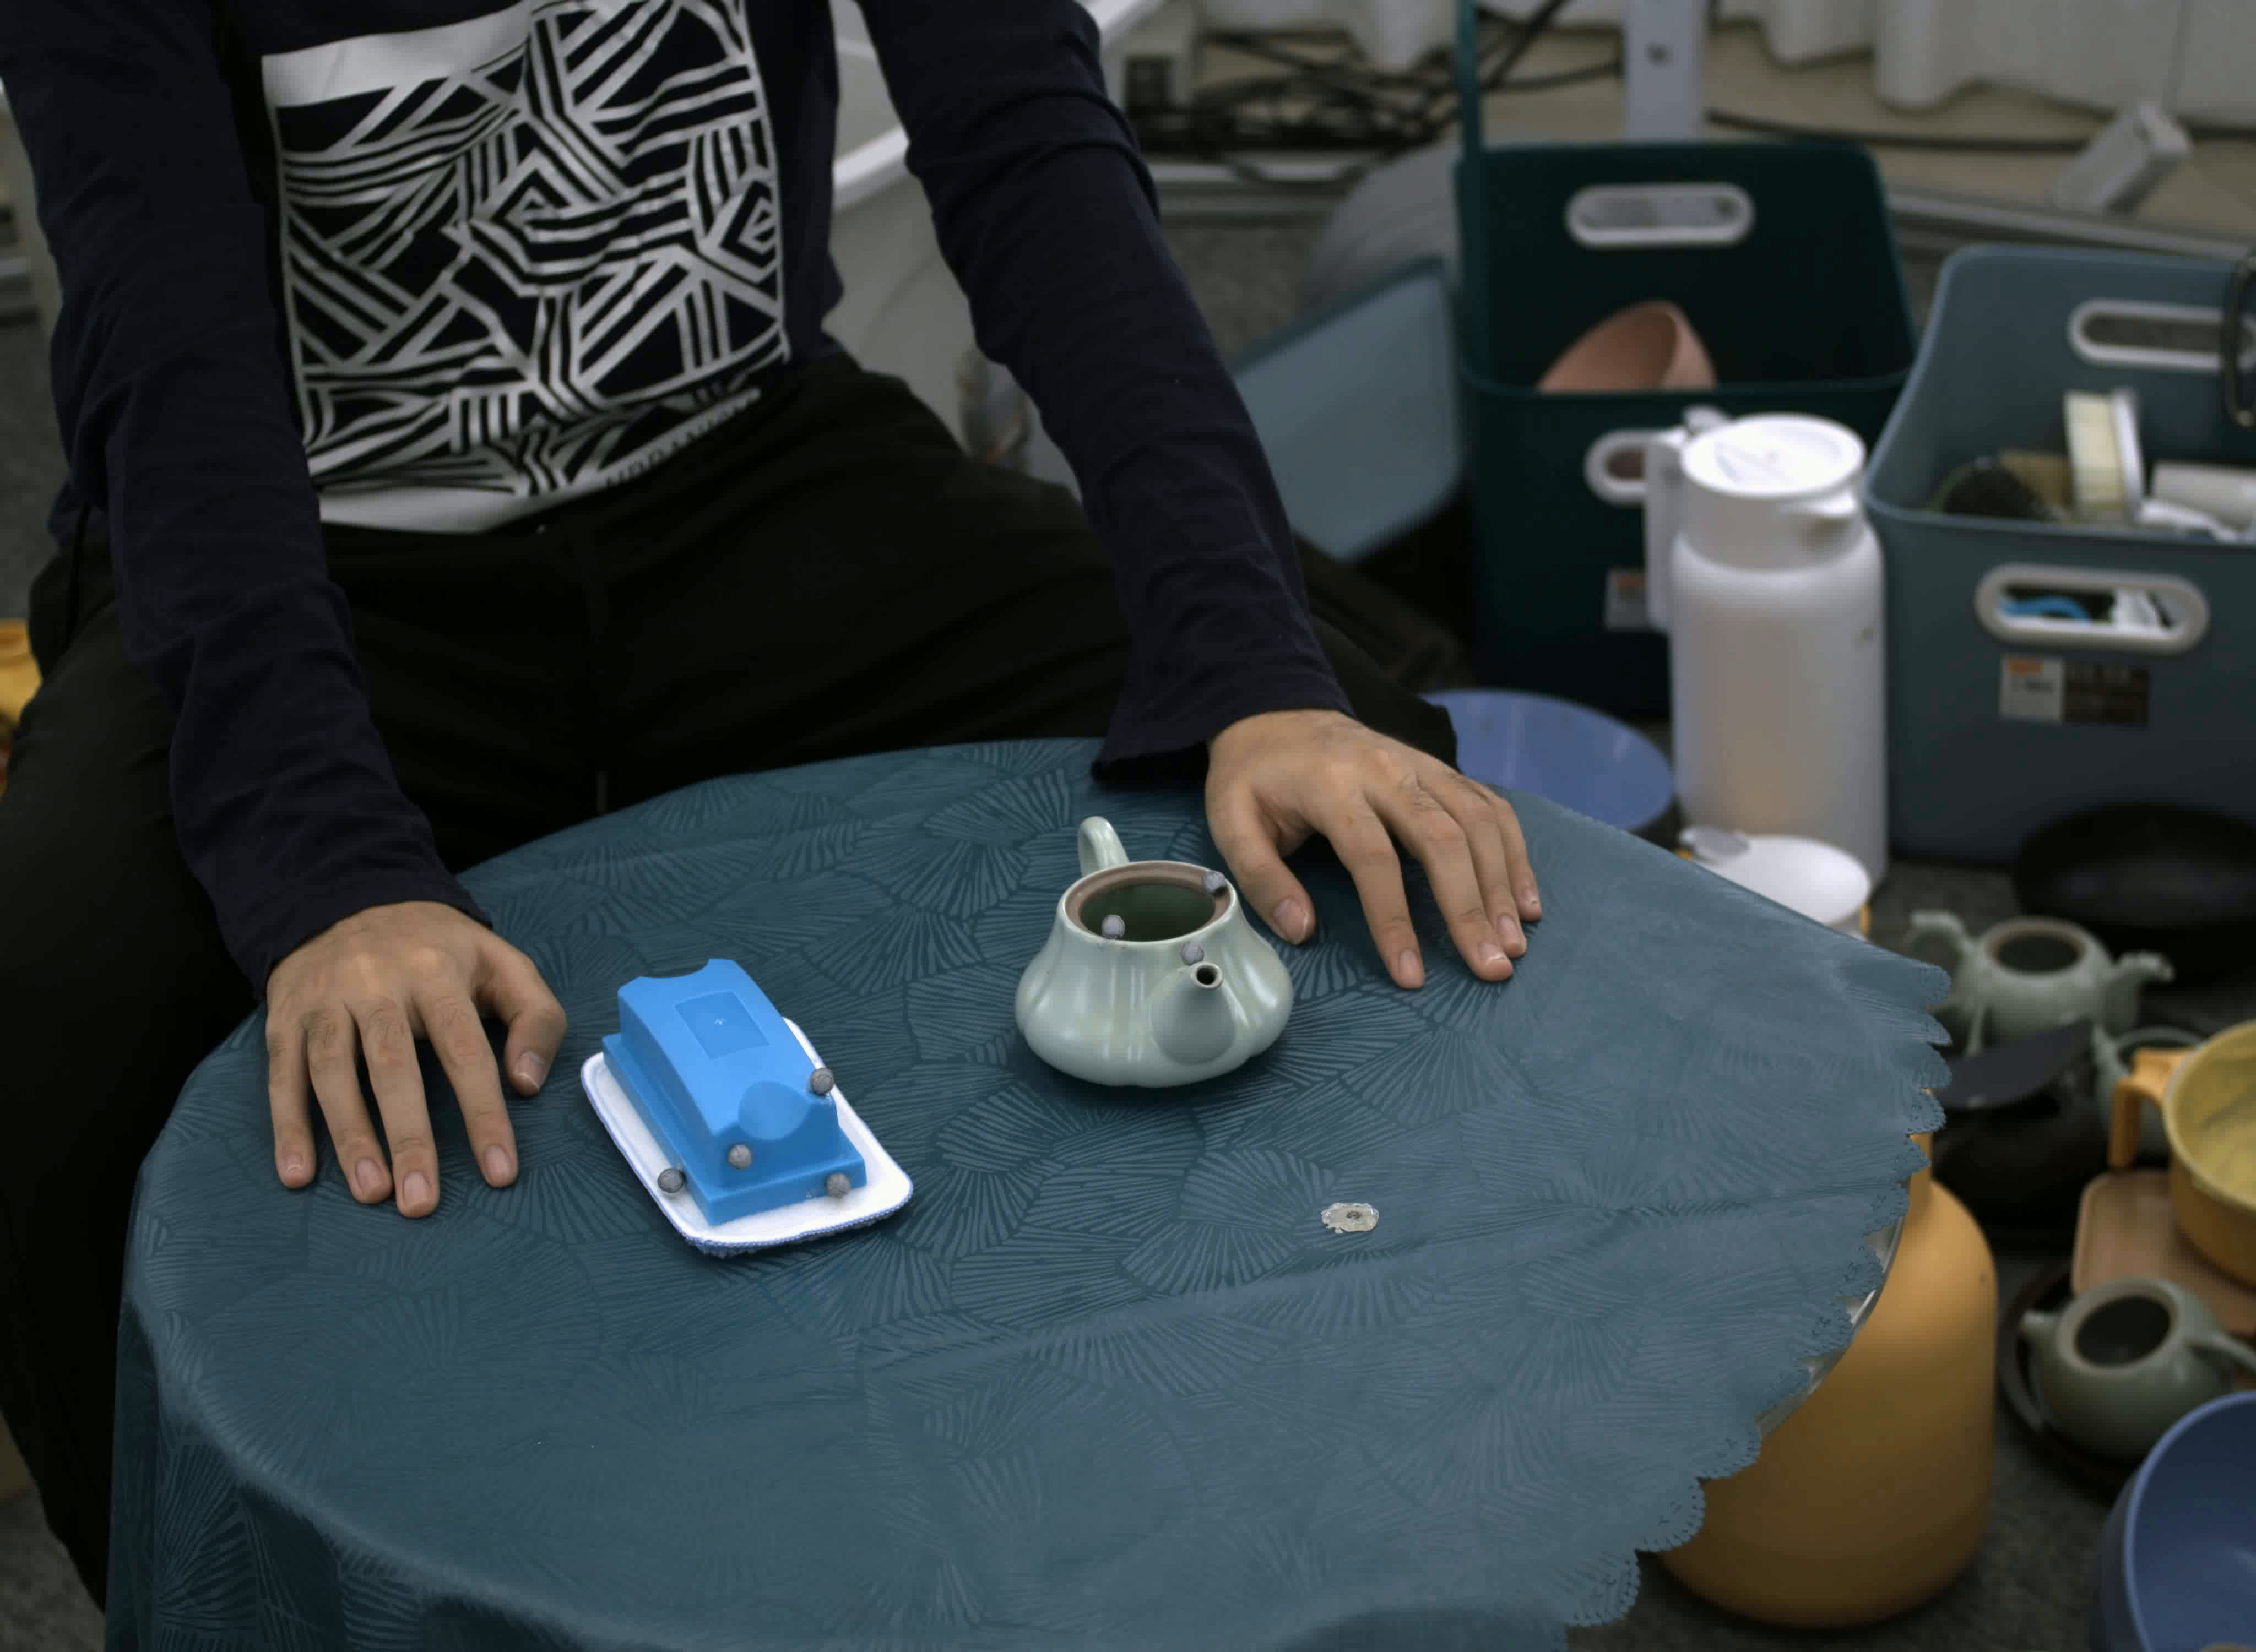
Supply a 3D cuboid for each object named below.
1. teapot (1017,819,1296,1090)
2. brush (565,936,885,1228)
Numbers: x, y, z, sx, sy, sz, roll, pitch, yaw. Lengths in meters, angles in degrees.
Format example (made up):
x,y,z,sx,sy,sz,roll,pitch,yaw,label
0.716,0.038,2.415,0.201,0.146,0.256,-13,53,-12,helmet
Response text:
x,y,z,sx,sy,sz,roll,pitch,yaw,label
0.007,0.048,1.937,0.096,0.061,0.138,-14,30,-16,teapot
-0.135,0.082,1.884,0.084,0.055,0.145,-9,30,-18,brush
